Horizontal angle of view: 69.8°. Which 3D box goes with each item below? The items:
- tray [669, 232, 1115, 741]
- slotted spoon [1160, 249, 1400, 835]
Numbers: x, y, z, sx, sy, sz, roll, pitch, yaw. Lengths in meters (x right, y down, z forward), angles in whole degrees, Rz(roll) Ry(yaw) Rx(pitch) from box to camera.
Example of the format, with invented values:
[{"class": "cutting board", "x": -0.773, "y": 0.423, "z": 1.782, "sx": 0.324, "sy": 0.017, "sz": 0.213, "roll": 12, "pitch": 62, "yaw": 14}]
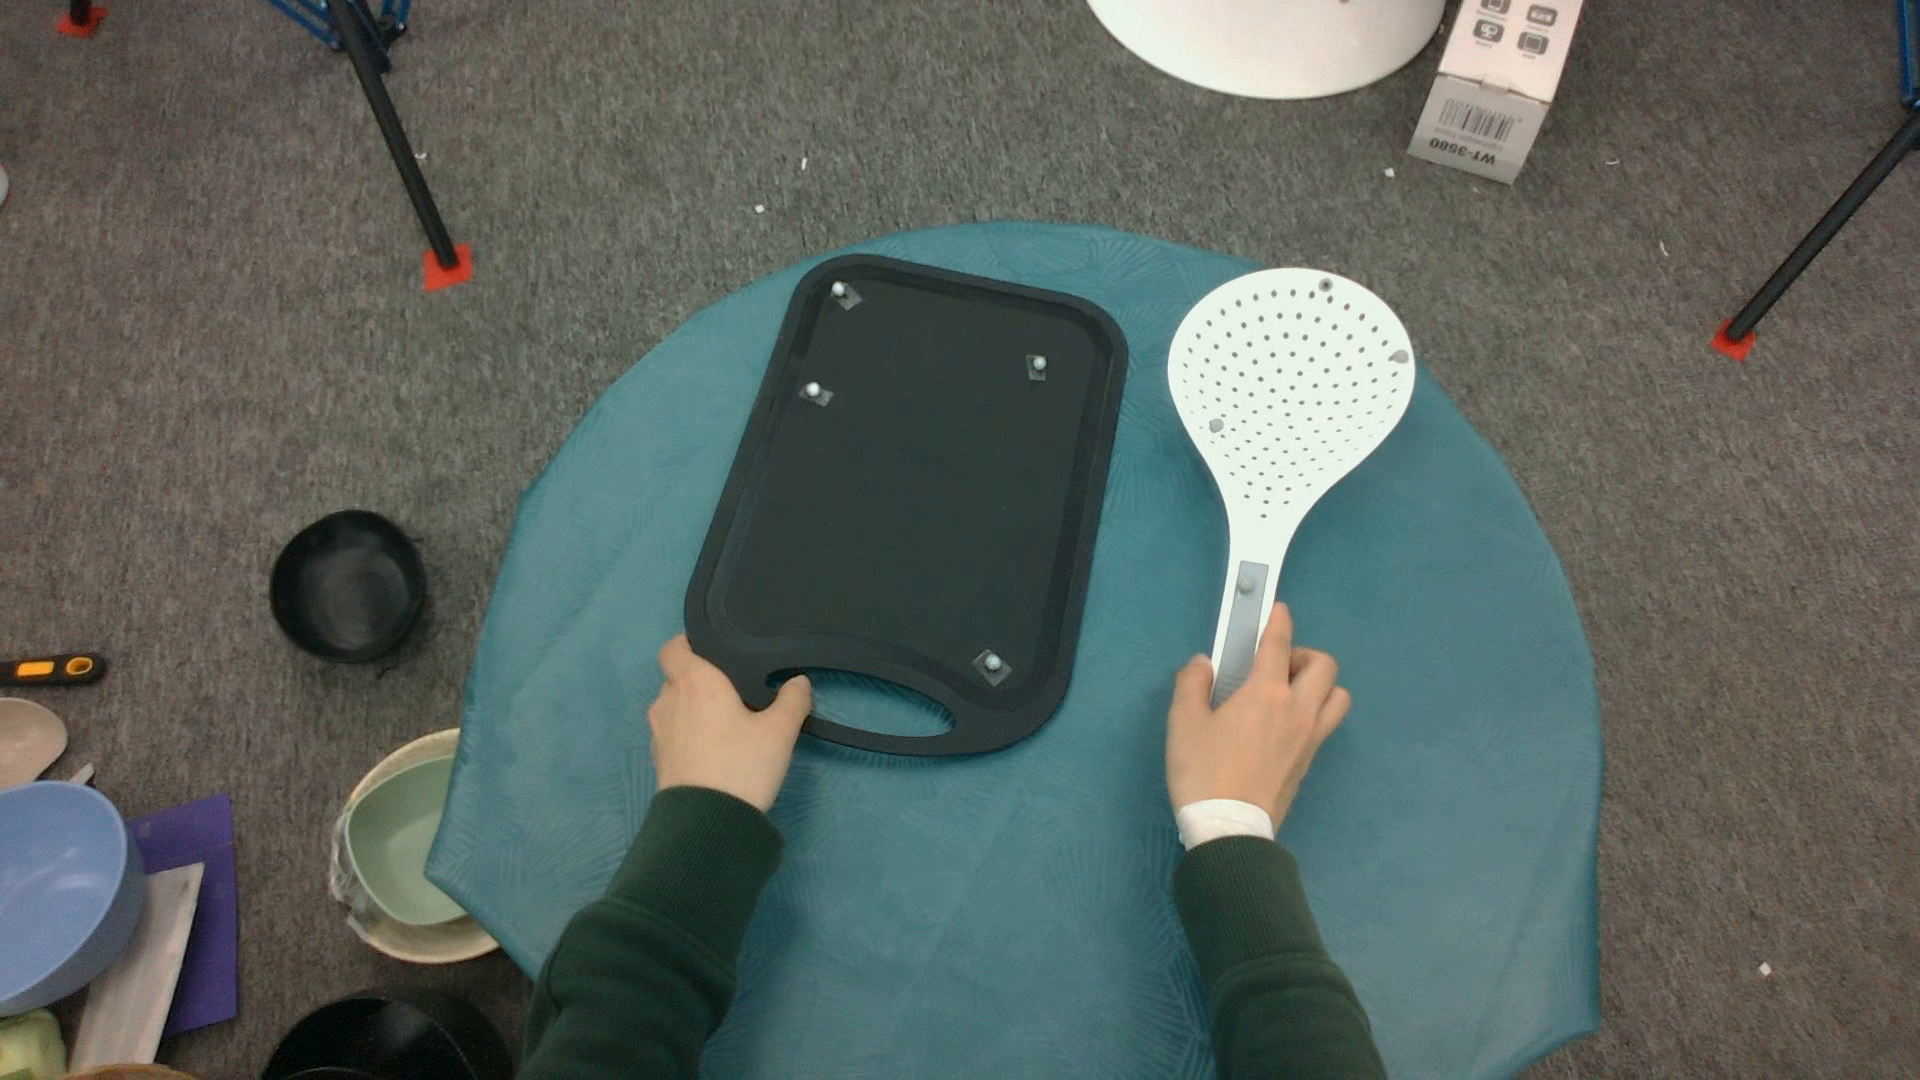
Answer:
[{"class": "tray", "x": -0.031, "y": -0.041, "z": 0.777, "sx": 0.211, "sy": 0.010, "sz": 0.327, "roll": 12, "pitch": 60, "yaw": 2}, {"class": "slotted spoon", "x": 0.158, "y": -0.011, "z": 0.754, "sx": 0.136, "sy": 0.045, "sz": 0.351, "roll": 9, "pitch": 62, "yaw": 14}]
